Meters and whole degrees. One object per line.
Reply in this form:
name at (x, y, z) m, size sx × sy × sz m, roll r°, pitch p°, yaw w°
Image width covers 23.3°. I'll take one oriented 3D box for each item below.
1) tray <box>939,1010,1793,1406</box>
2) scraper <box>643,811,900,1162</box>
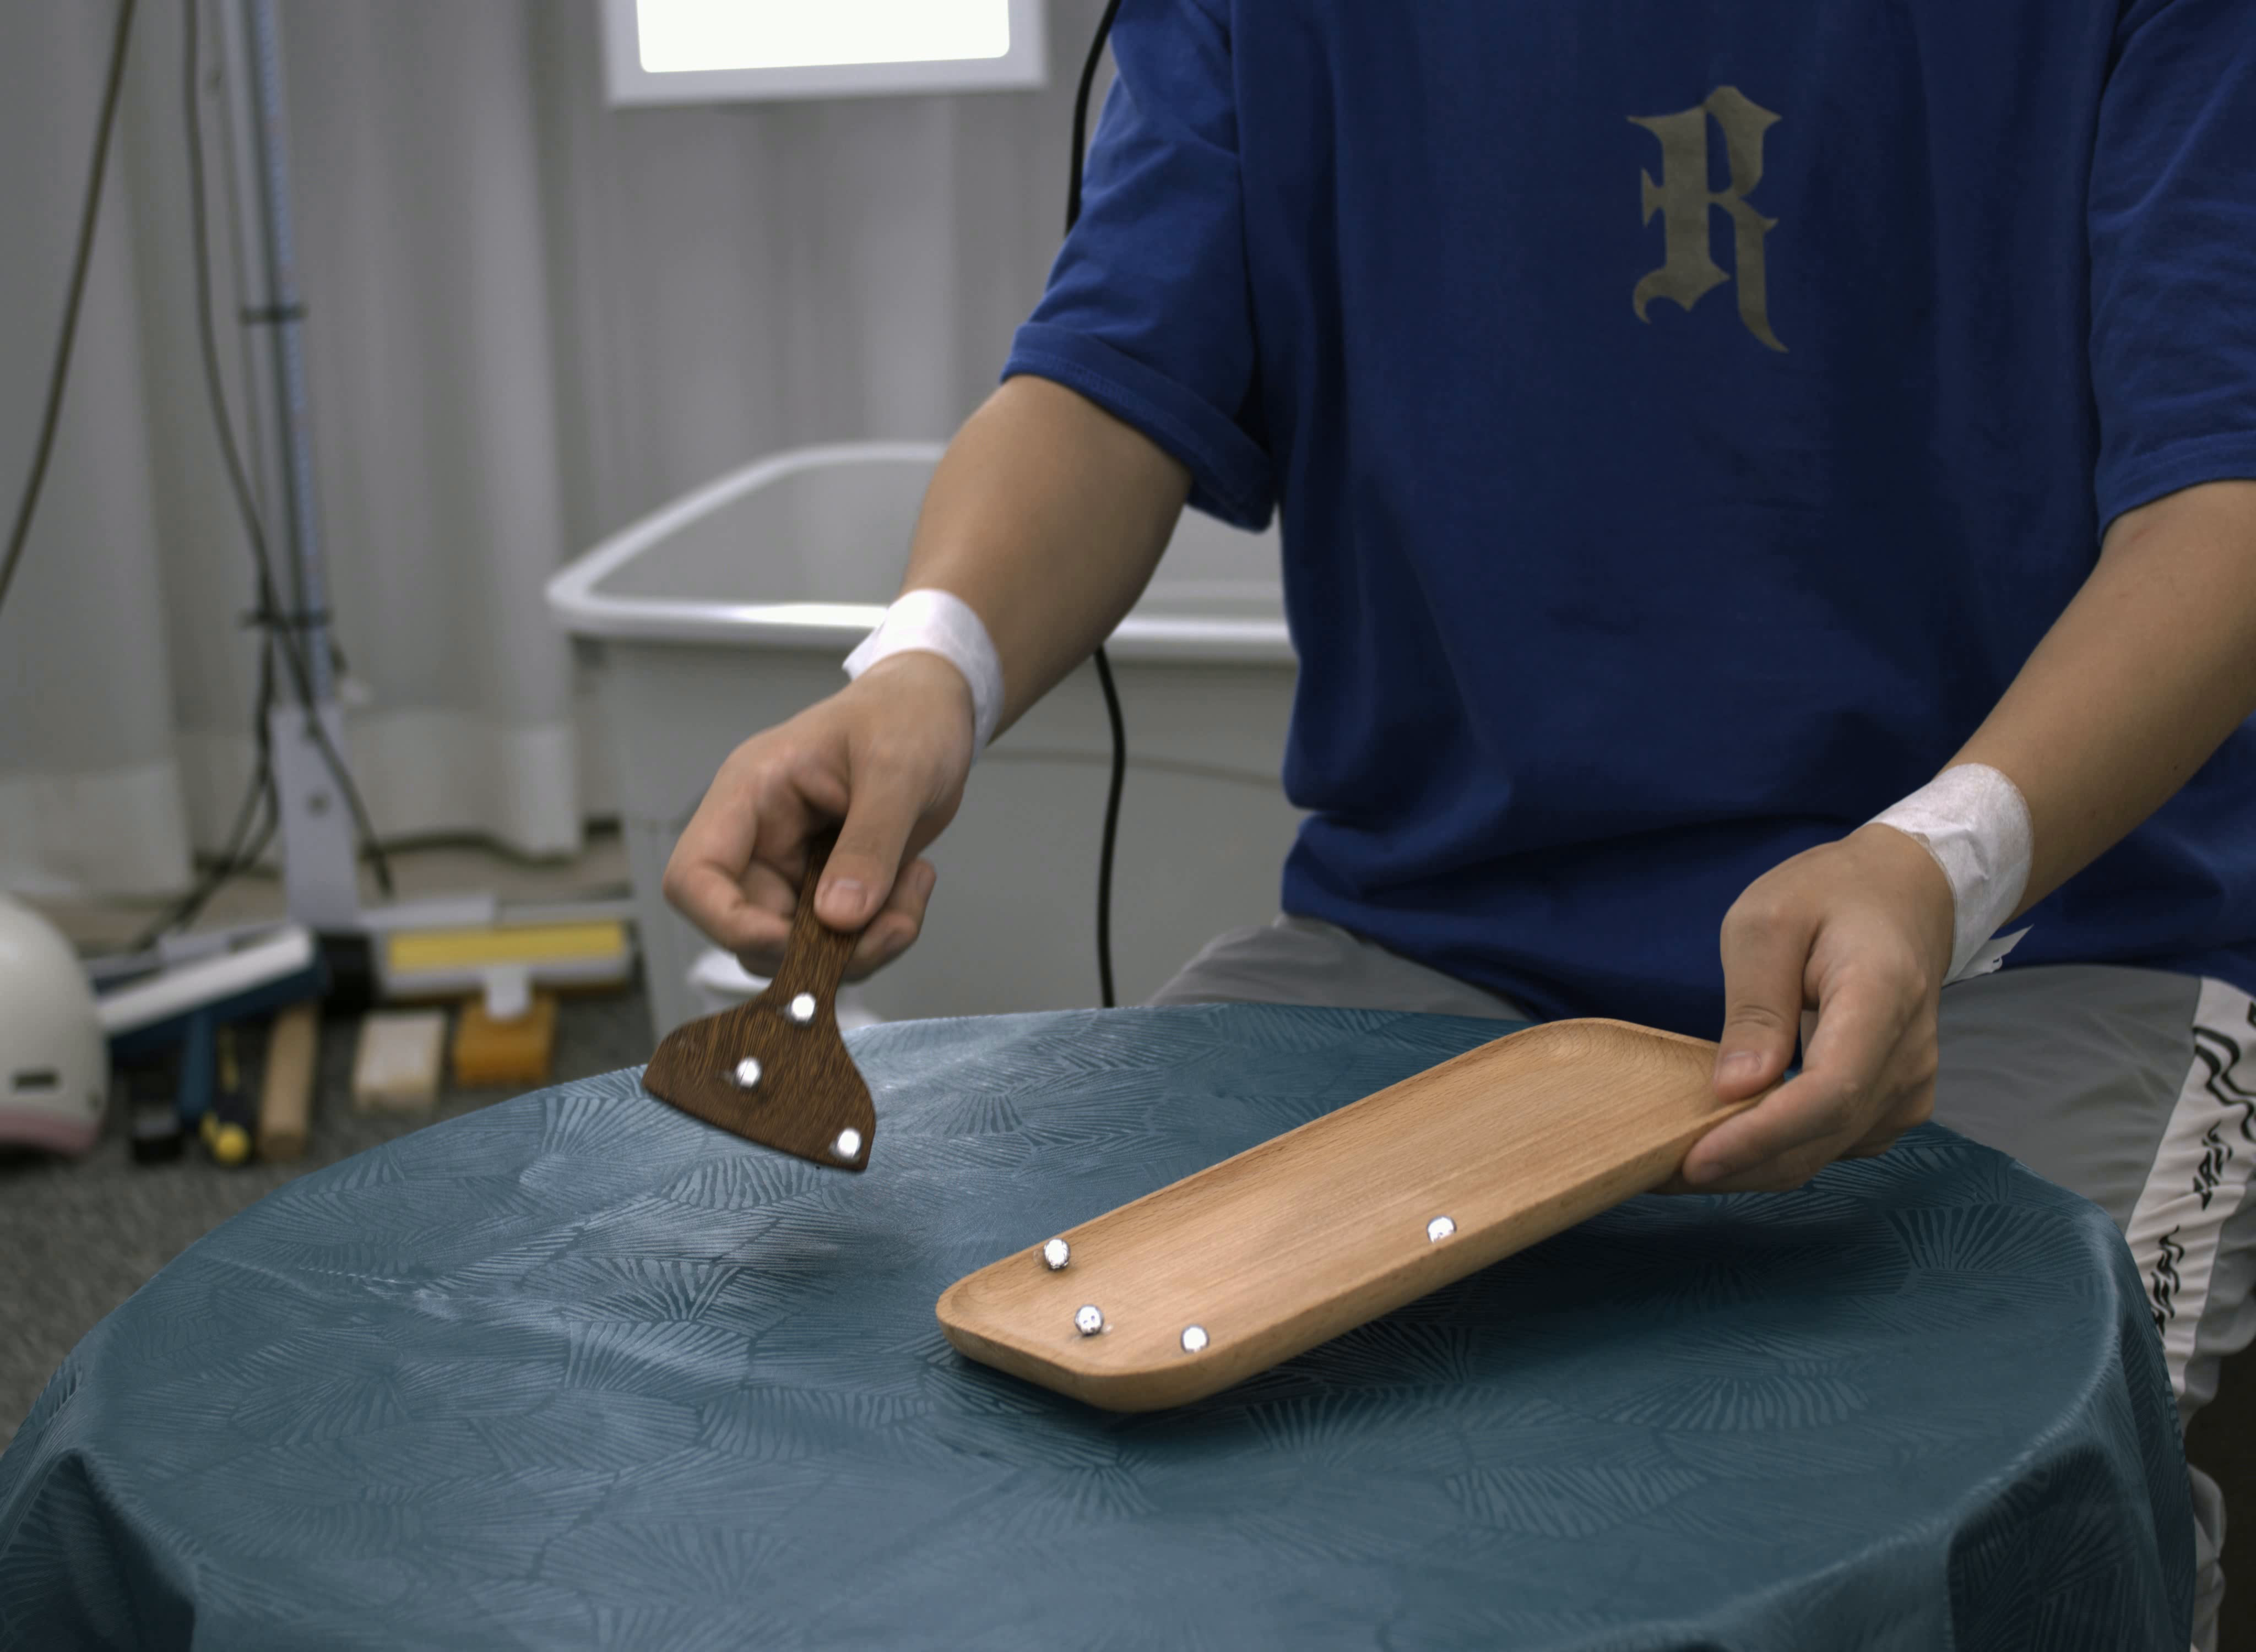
tray at (0.071, 0.109, 1.595) m, size 0.250 × 0.023 × 0.131 m, roll -21°, pitch 19°, yaw -27°
scraper at (-0.100, 0.046, 1.723) m, size 0.075 × 0.011 × 0.213 m, roll 23°, pitch 27°, yaw -3°
